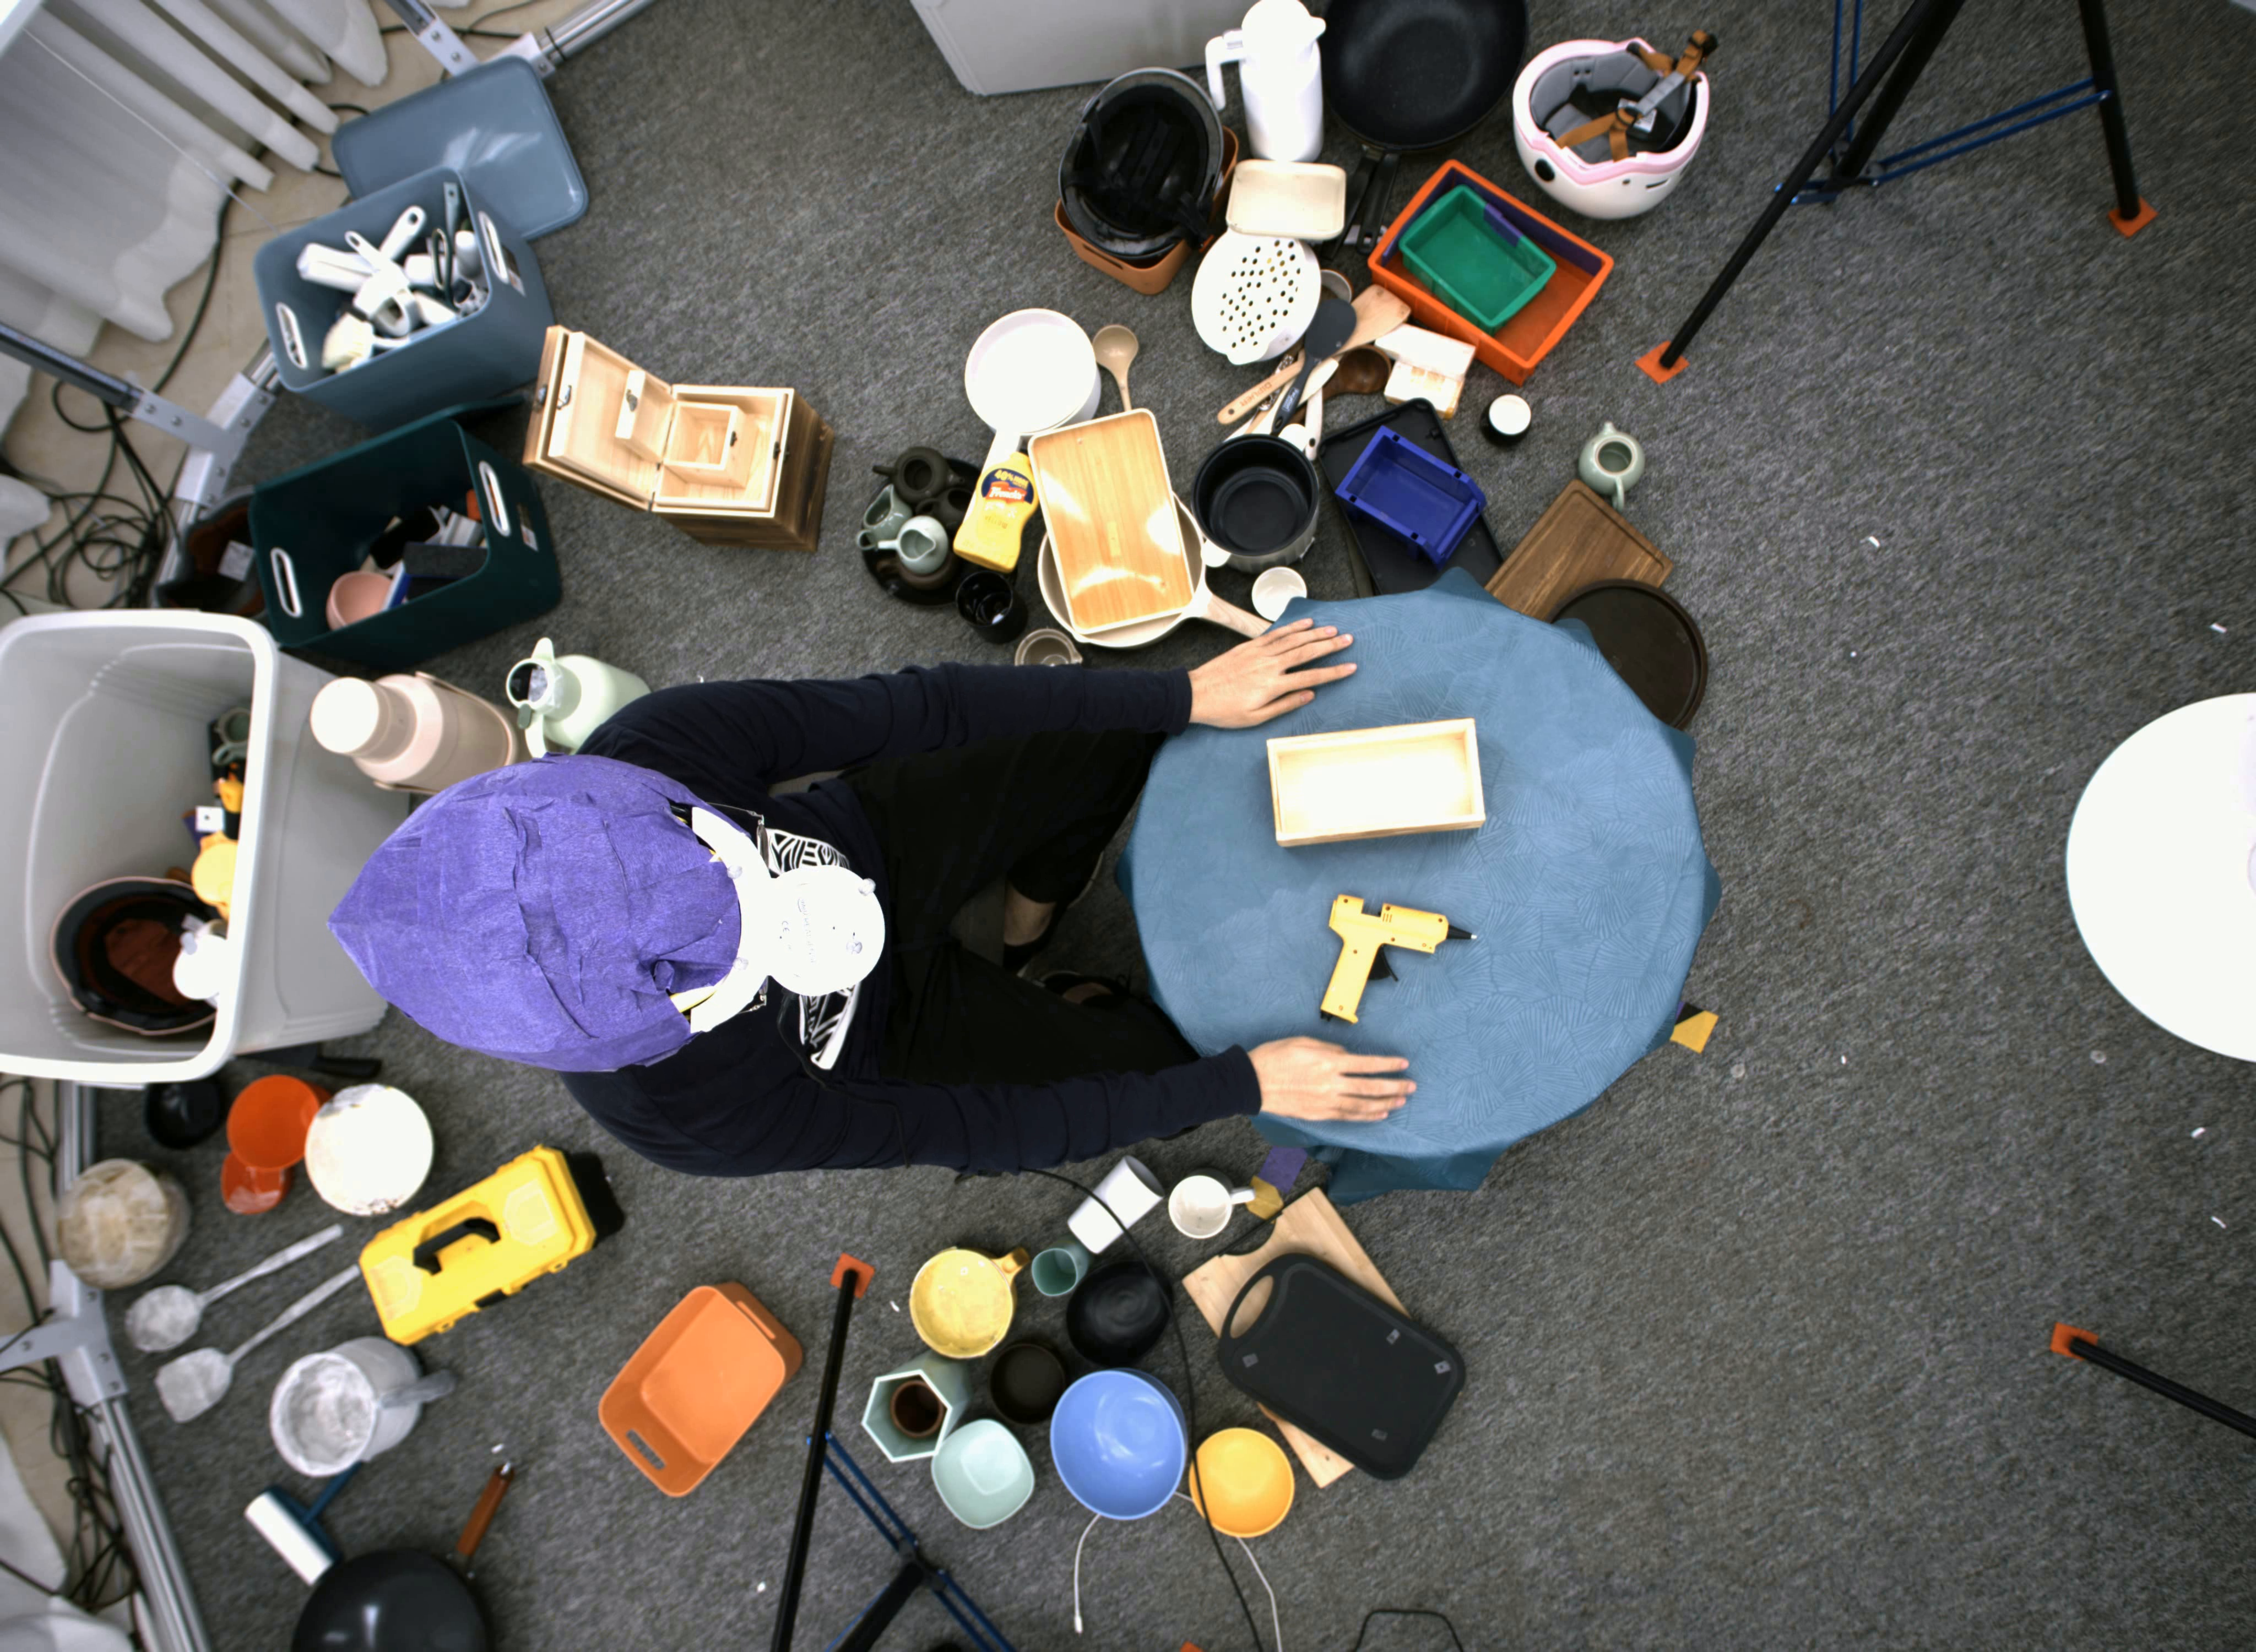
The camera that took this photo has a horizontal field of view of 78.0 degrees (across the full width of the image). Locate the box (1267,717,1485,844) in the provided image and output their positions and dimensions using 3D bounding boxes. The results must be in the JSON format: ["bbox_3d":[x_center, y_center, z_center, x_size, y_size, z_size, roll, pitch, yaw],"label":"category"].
[{"bbox_3d":[0.255,-0.046,1.429,0.212,0.080,0.107,-5,84,9],"label":"box"}]

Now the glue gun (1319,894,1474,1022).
[{"bbox_3d":[0.280,0.143,1.440,0.152,0.031,0.132,6,88,12],"label":"glue gun"}]
